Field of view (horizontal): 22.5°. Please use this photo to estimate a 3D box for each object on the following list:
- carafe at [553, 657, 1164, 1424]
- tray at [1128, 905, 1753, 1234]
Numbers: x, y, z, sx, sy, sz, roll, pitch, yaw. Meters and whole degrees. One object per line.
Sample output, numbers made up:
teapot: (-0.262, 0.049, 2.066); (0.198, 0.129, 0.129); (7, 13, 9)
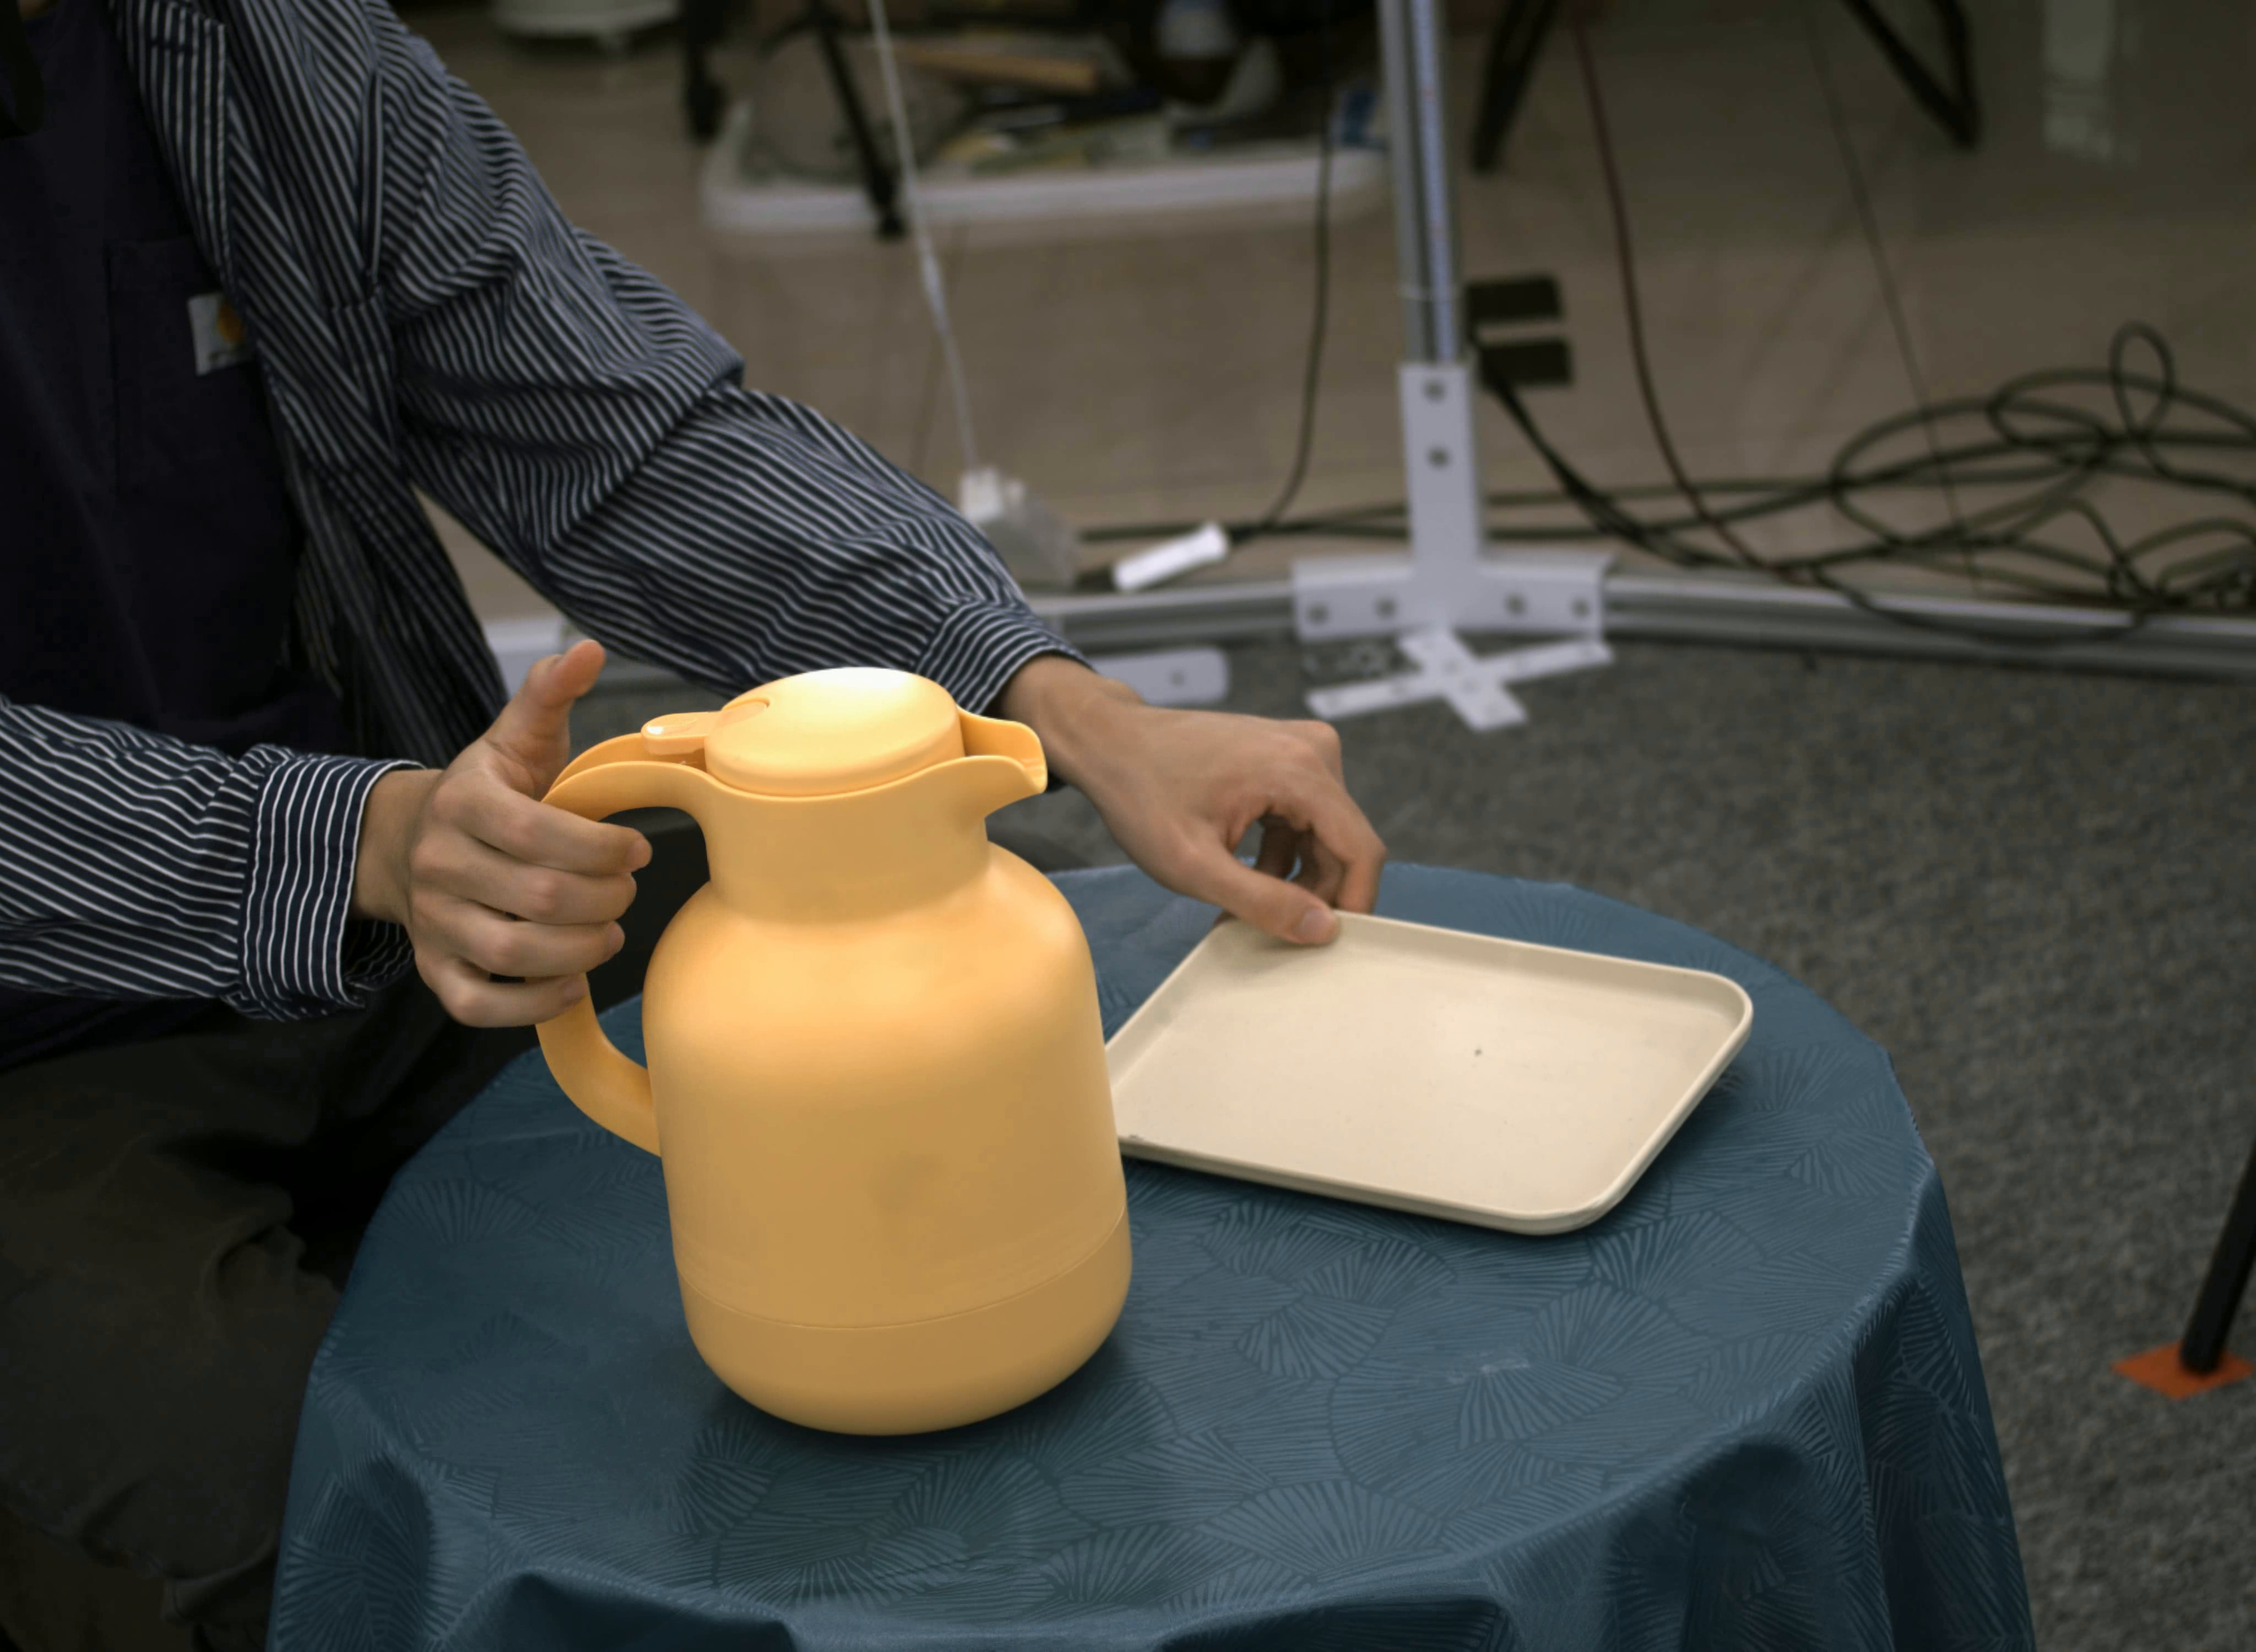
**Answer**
carafe: (-0.096, 0.071, 2.010); (0.202, 0.264, 0.161); (-1, 25, 10)
tray: (0.108, 0.093, 2.181); (0.238, 0.018, 0.169); (9, 36, 30)
